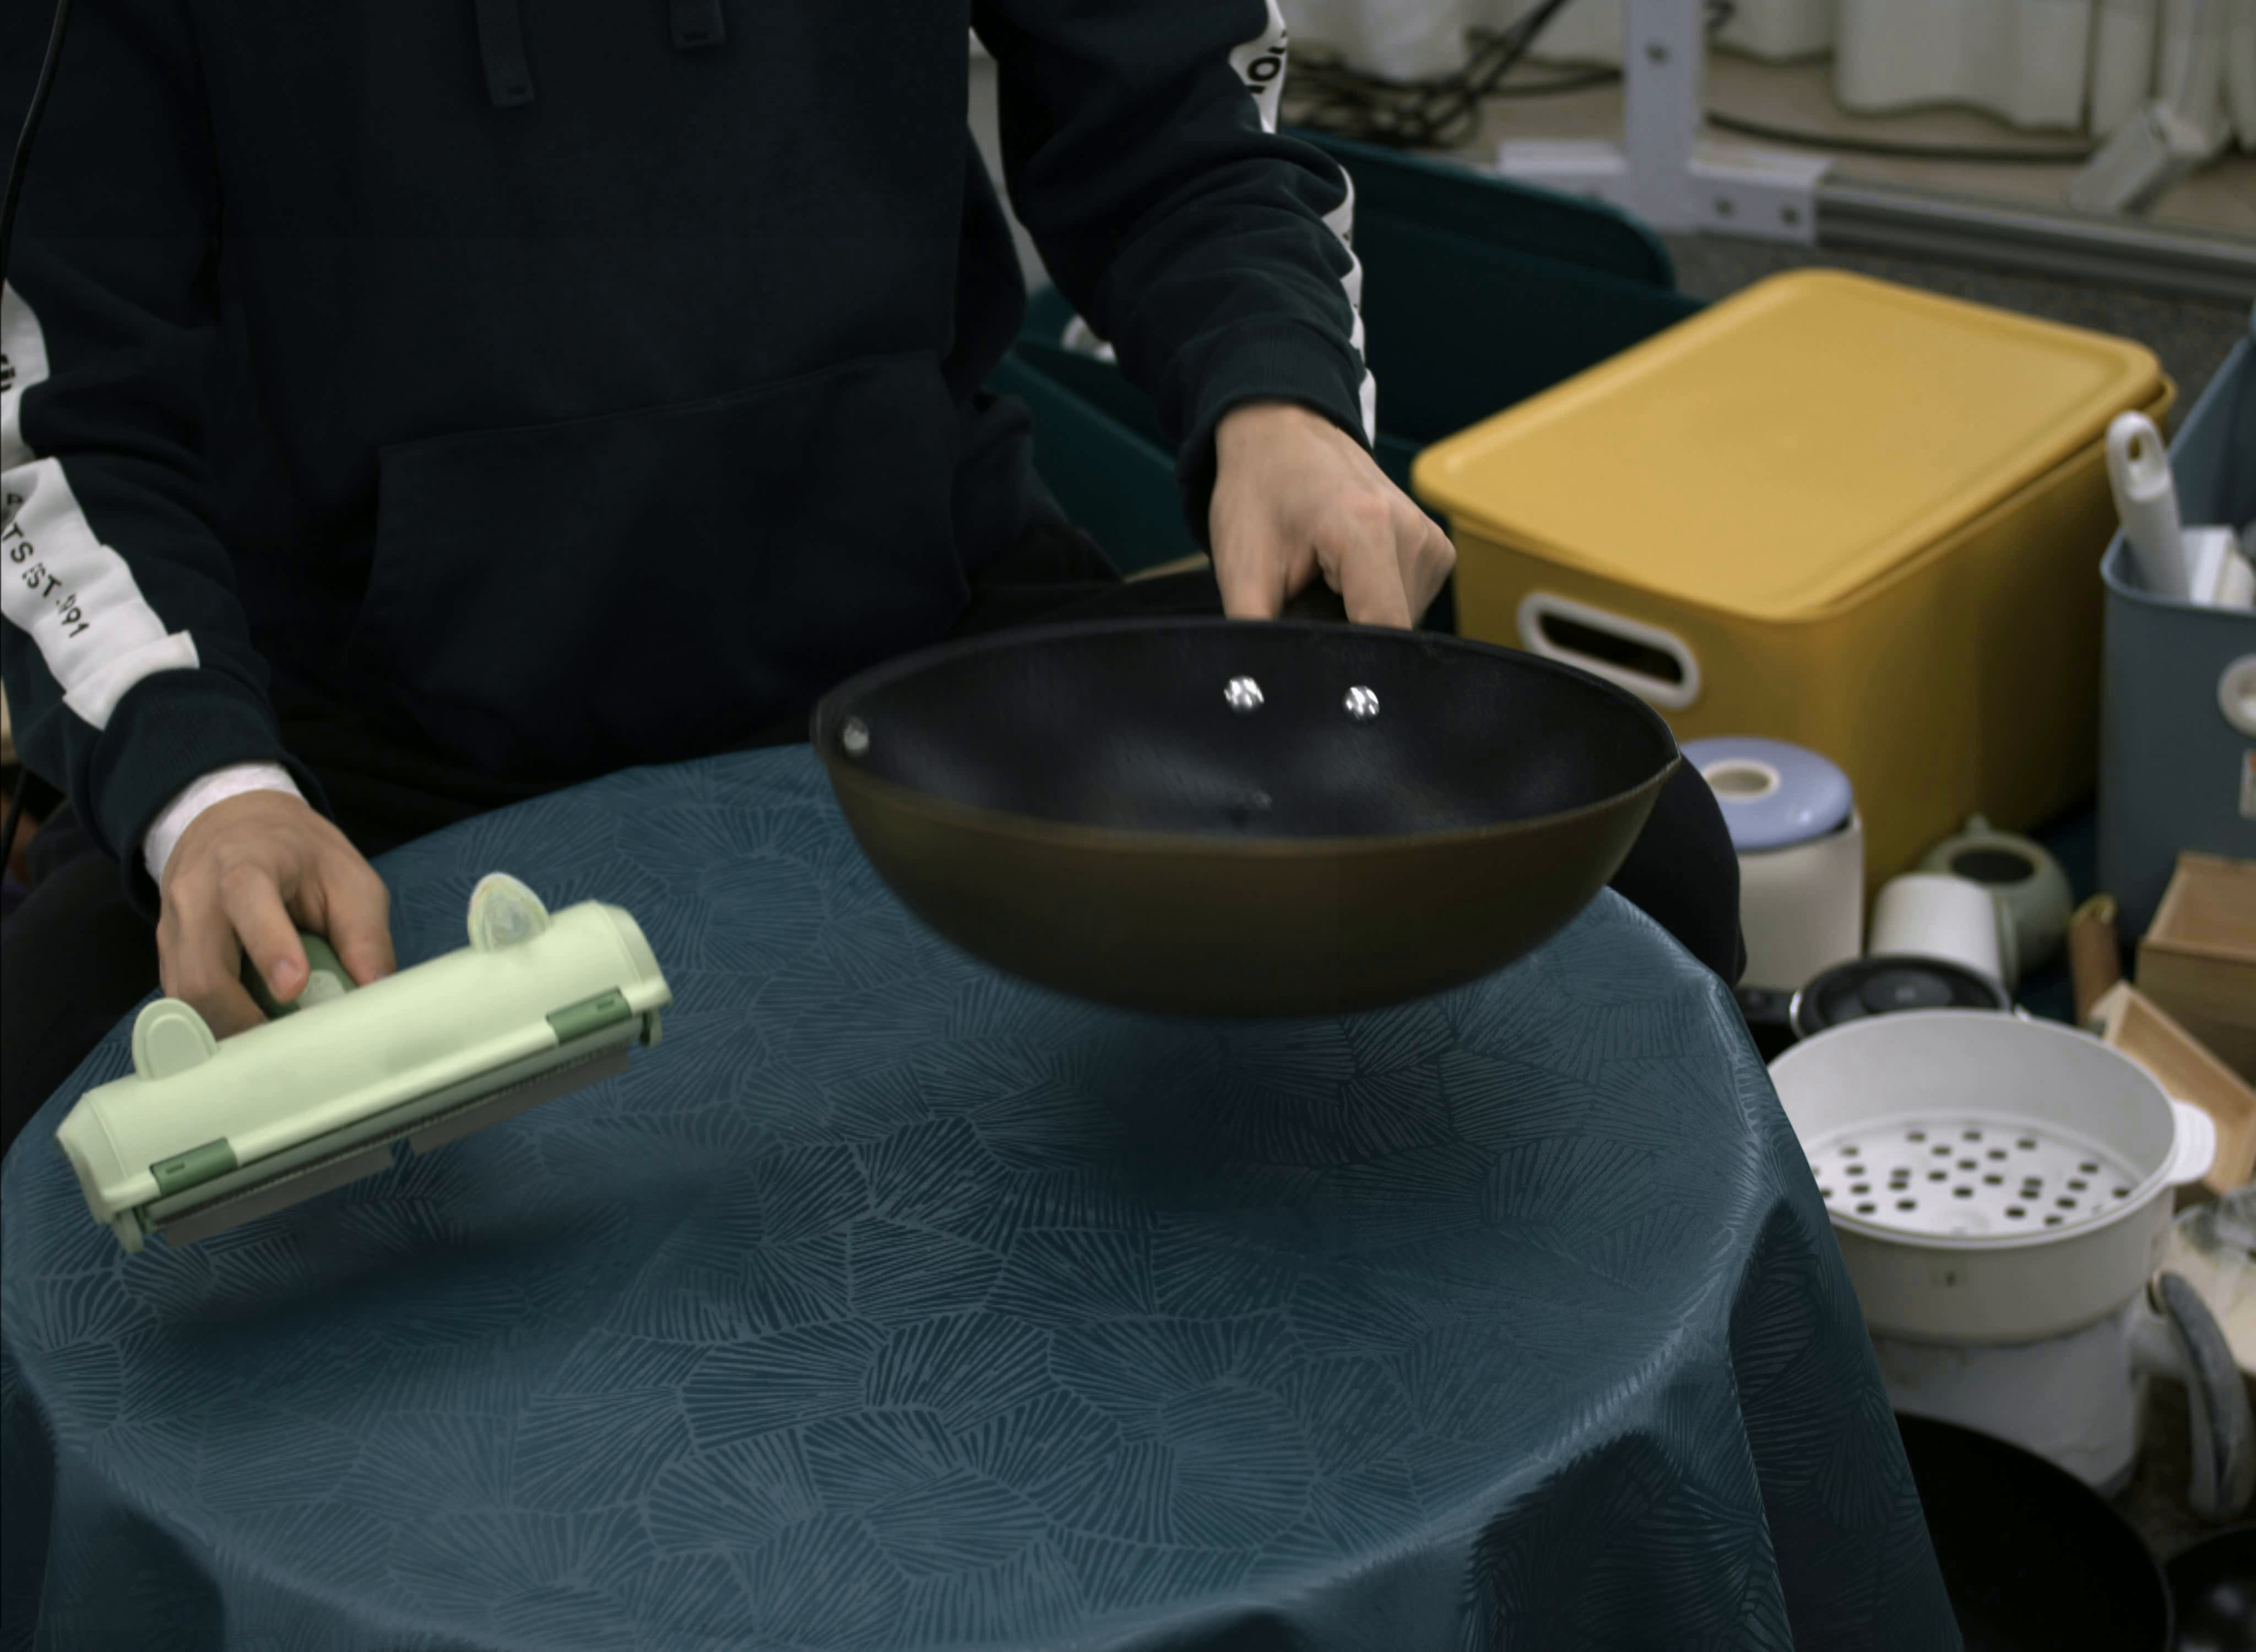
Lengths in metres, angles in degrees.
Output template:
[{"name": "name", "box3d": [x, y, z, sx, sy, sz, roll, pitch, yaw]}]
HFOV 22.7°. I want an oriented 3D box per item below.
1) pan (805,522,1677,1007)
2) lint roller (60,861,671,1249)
[{"name": "pan", "box3d": [0.050, -0.024, 1.934, 0.286, 0.086, 0.468, 6, 15, 8]}, {"name": "lint roller", "box3d": [-0.270, 0.049, 1.857, 0.199, 0.081, 0.184, -22, 33, -17]}]
